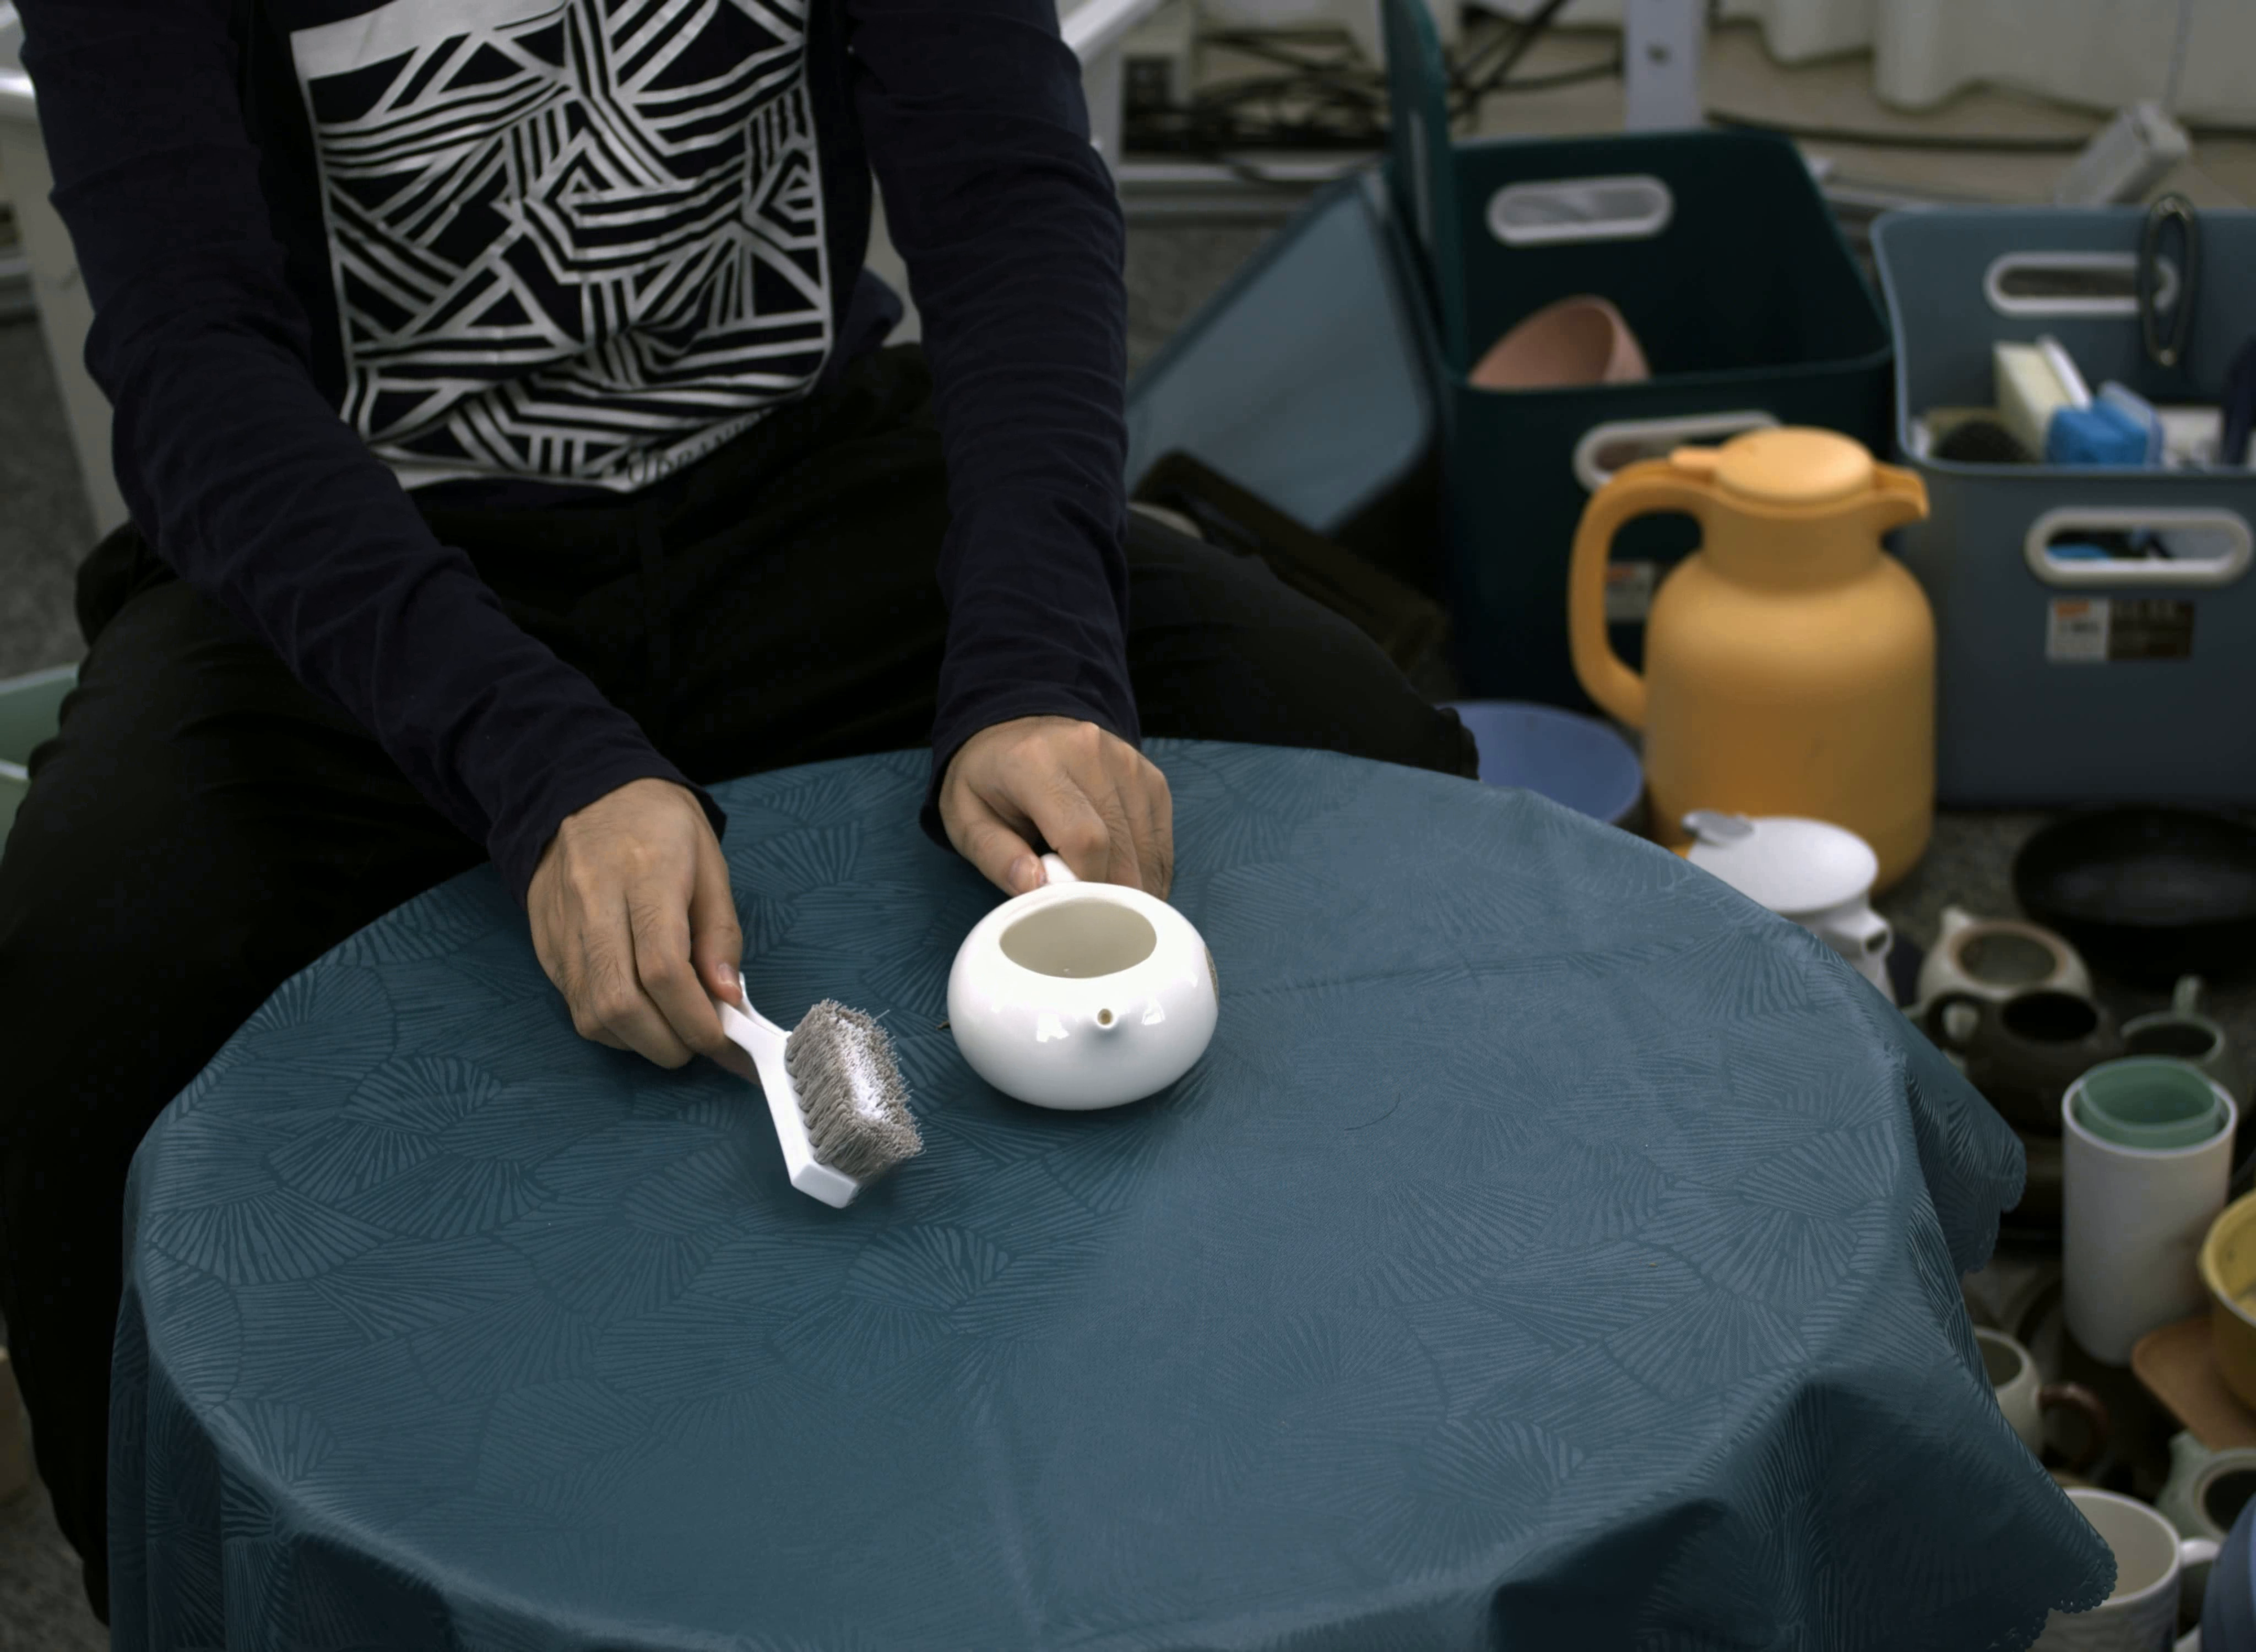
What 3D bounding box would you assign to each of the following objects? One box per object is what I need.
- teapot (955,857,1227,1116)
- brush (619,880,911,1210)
[{"bbox_3d":[-0.016,0.055,1.928,0.093,0.056,0.129,-14,31,-9],"label":"teapot"},{"bbox_3d":[-0.128,0.058,1.934,0.034,0.050,0.246,13,19,-27],"label":"brush"}]
